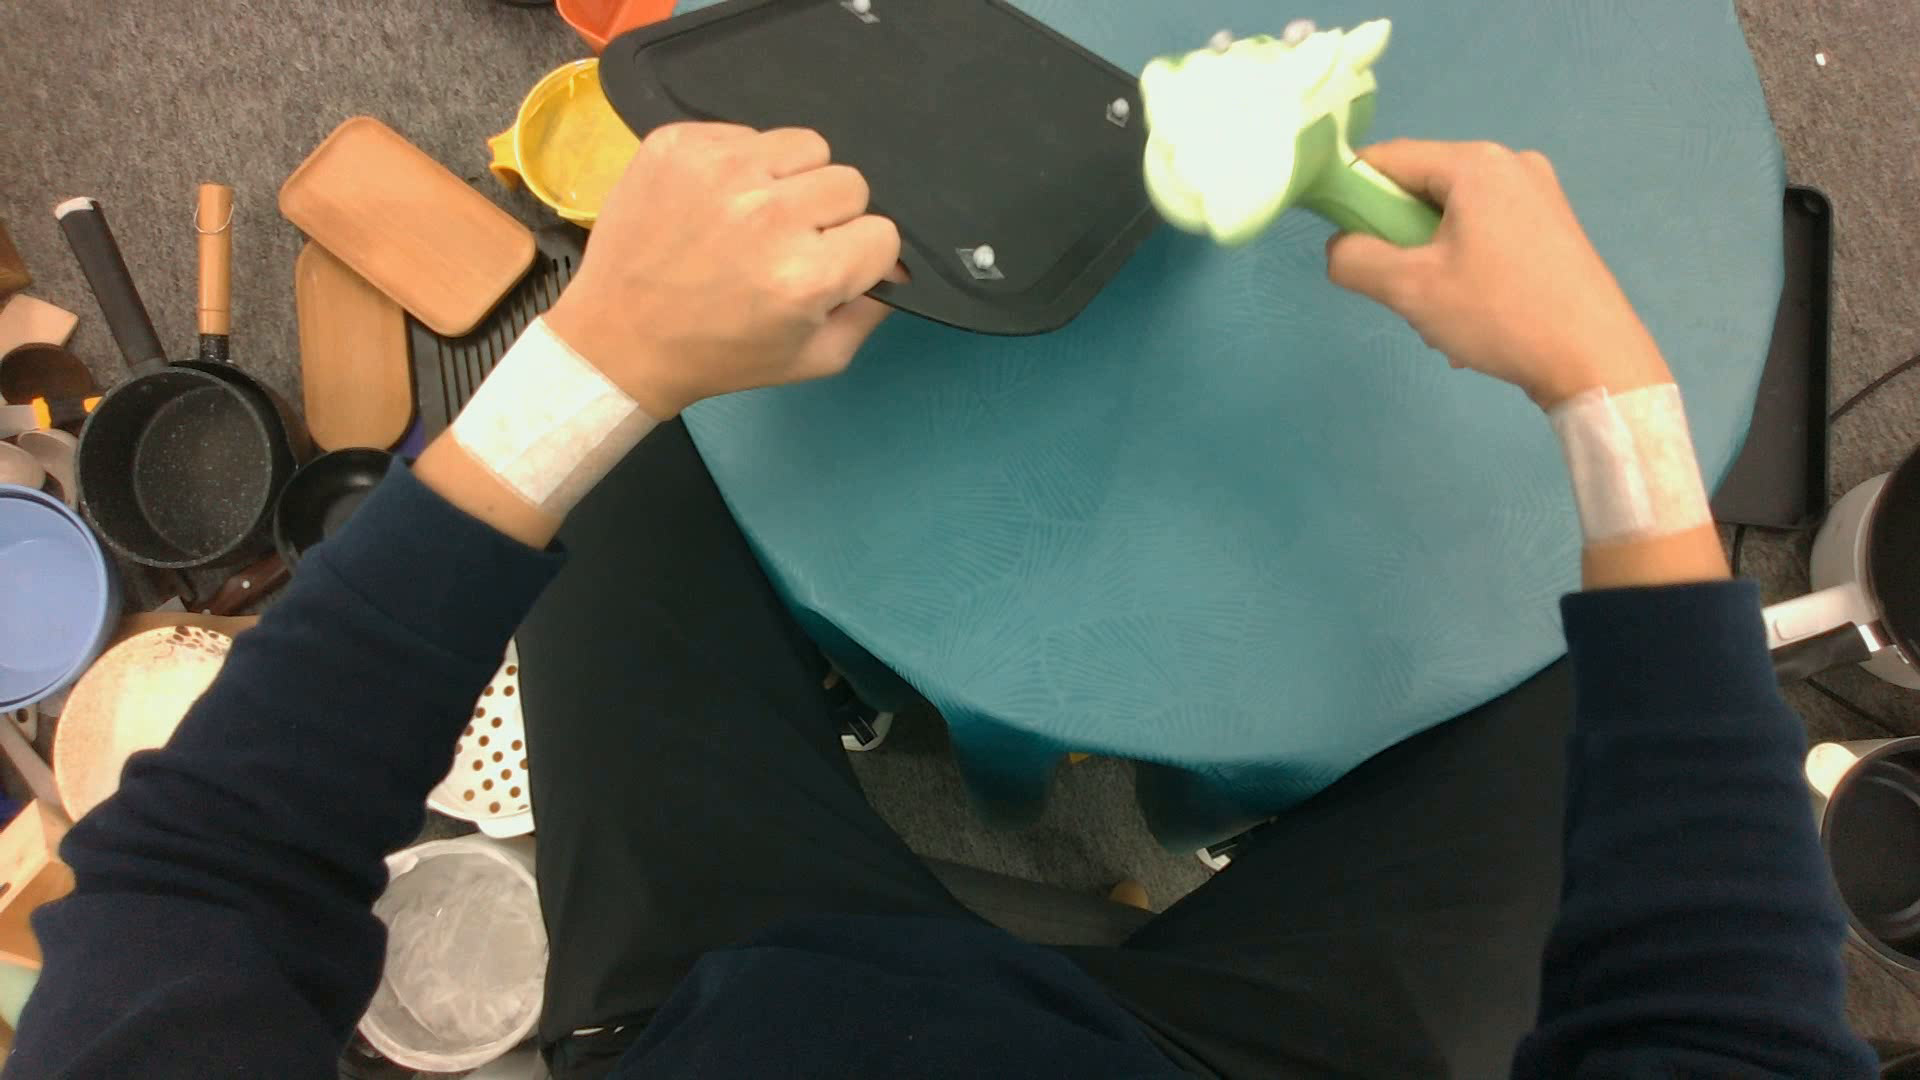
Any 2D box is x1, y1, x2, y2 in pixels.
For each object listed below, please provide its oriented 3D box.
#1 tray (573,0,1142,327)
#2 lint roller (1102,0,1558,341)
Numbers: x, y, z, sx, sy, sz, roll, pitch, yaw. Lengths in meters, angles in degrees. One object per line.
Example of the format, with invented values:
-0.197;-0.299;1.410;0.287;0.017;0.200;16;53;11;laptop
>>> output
-0.016;-0.188;0.608;0.211;0.010;0.327;31;38;6;tray
0.160;-0.146;0.535;0.183;0.199;0.082;25;124;8;lint roller
